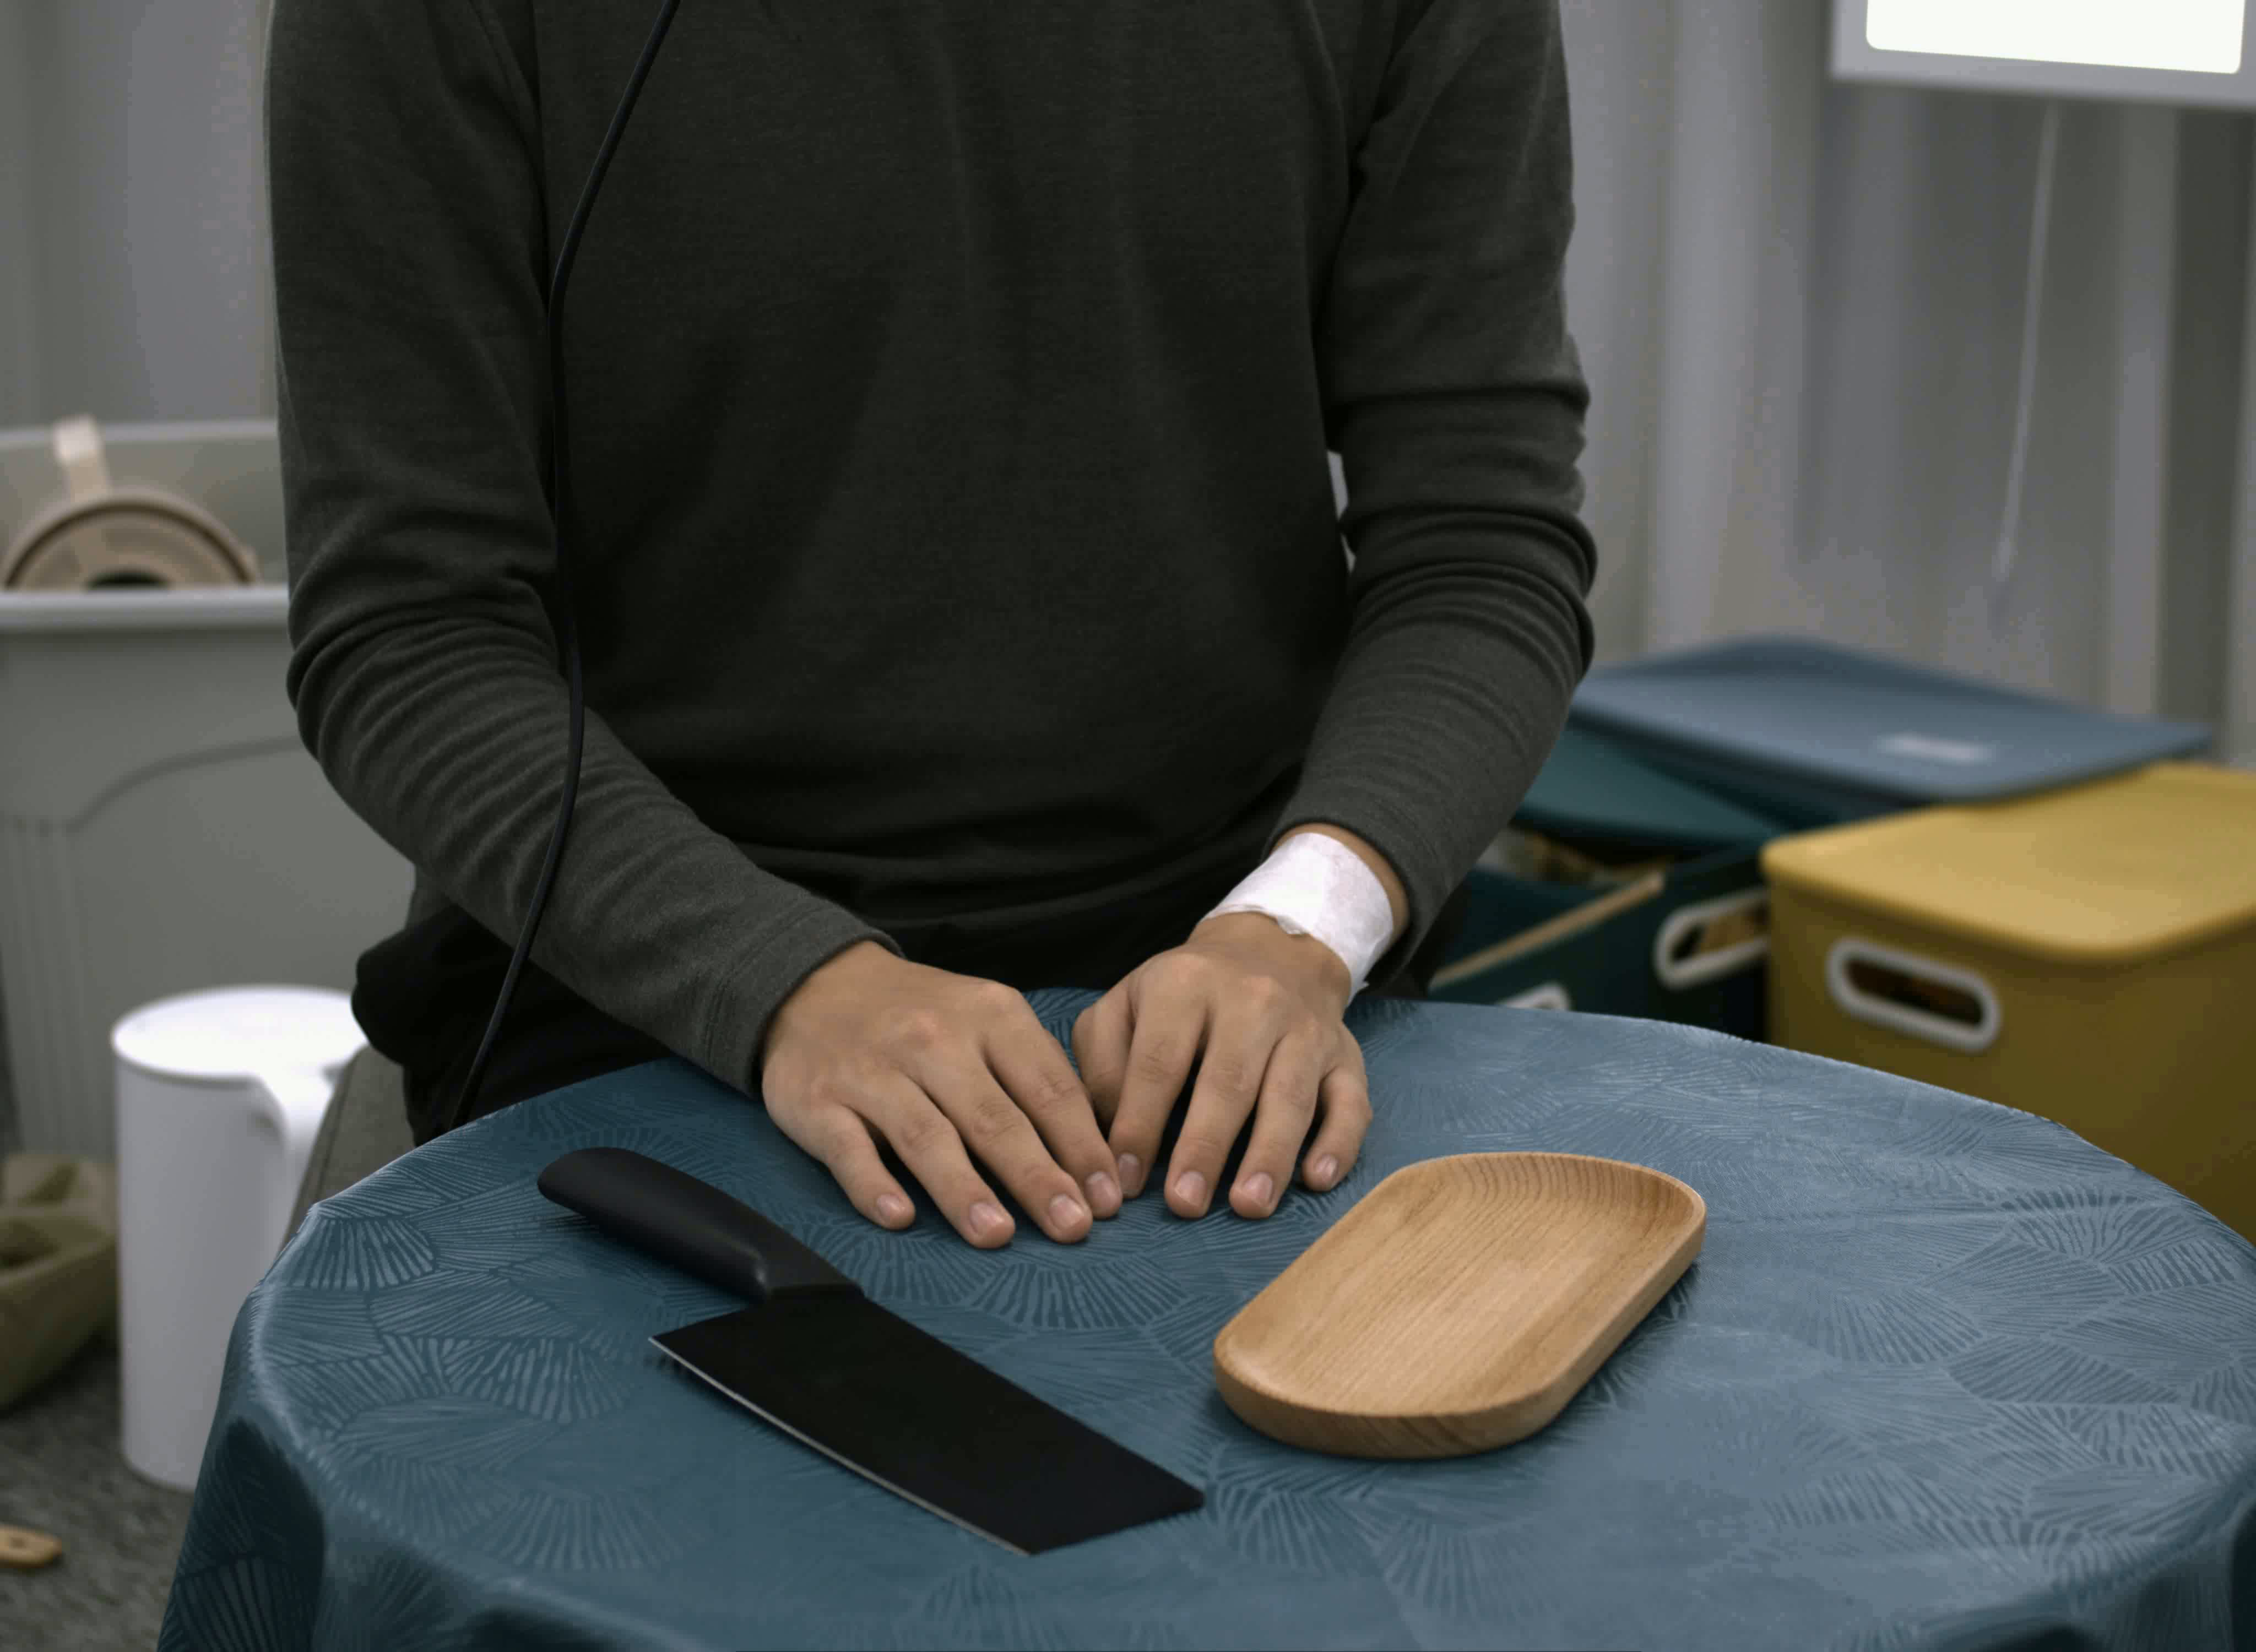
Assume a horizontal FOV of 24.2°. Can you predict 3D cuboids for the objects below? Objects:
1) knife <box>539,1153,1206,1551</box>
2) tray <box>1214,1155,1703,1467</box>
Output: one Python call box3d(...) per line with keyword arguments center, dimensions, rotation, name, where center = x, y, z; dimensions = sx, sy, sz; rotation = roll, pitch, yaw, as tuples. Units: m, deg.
box3d(center=(-0.088, 0.145, 1.479), dimensions=(0.081, 0.021, 0.298), rotation=(-10, 20, -31), name="knife")
box3d(center=(0.098, 0.137, 1.511), dimensions=(0.101, 0.020, 0.231), rotation=(5, 17, 20), name="tray")
